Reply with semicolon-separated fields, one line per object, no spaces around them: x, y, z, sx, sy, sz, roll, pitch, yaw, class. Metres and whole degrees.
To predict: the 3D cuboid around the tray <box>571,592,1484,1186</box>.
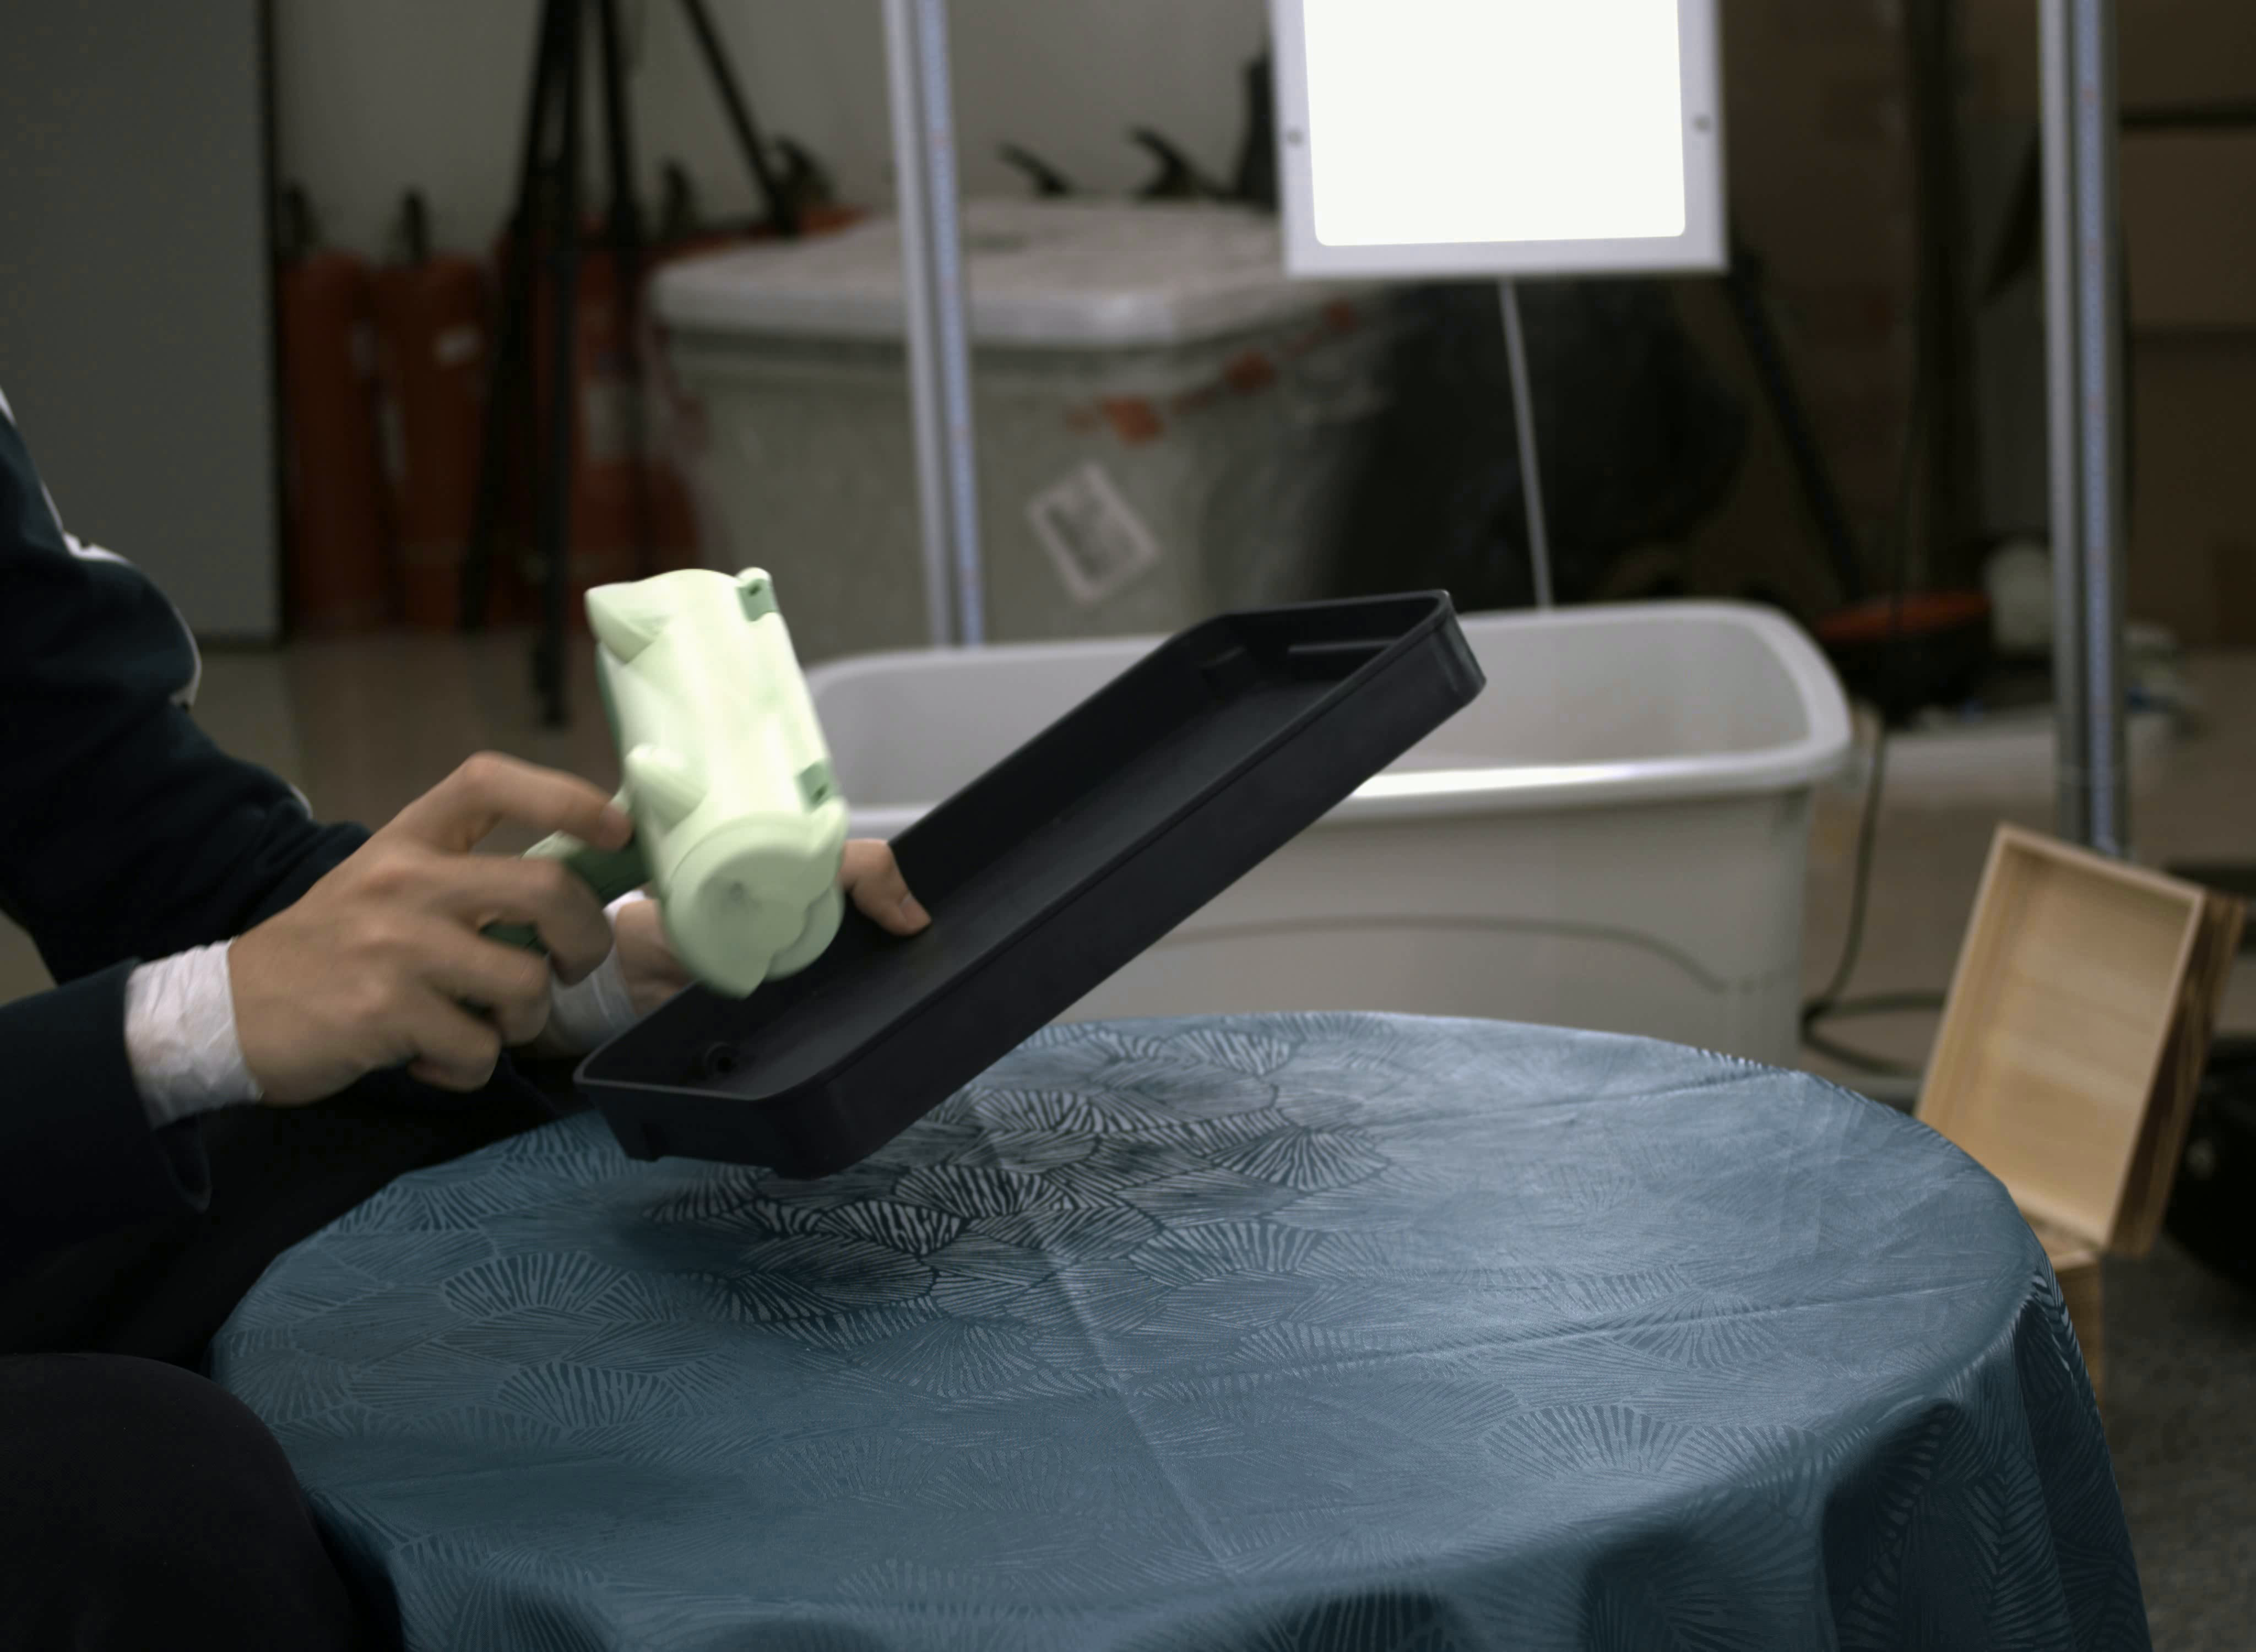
-0.034;0.019;1.907;0.313;0.037;0.188;-37;16;-23;tray

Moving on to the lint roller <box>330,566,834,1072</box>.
-0.182;0.006;1.704;0.184;0.081;0.199;-29;30;6;lint roller
